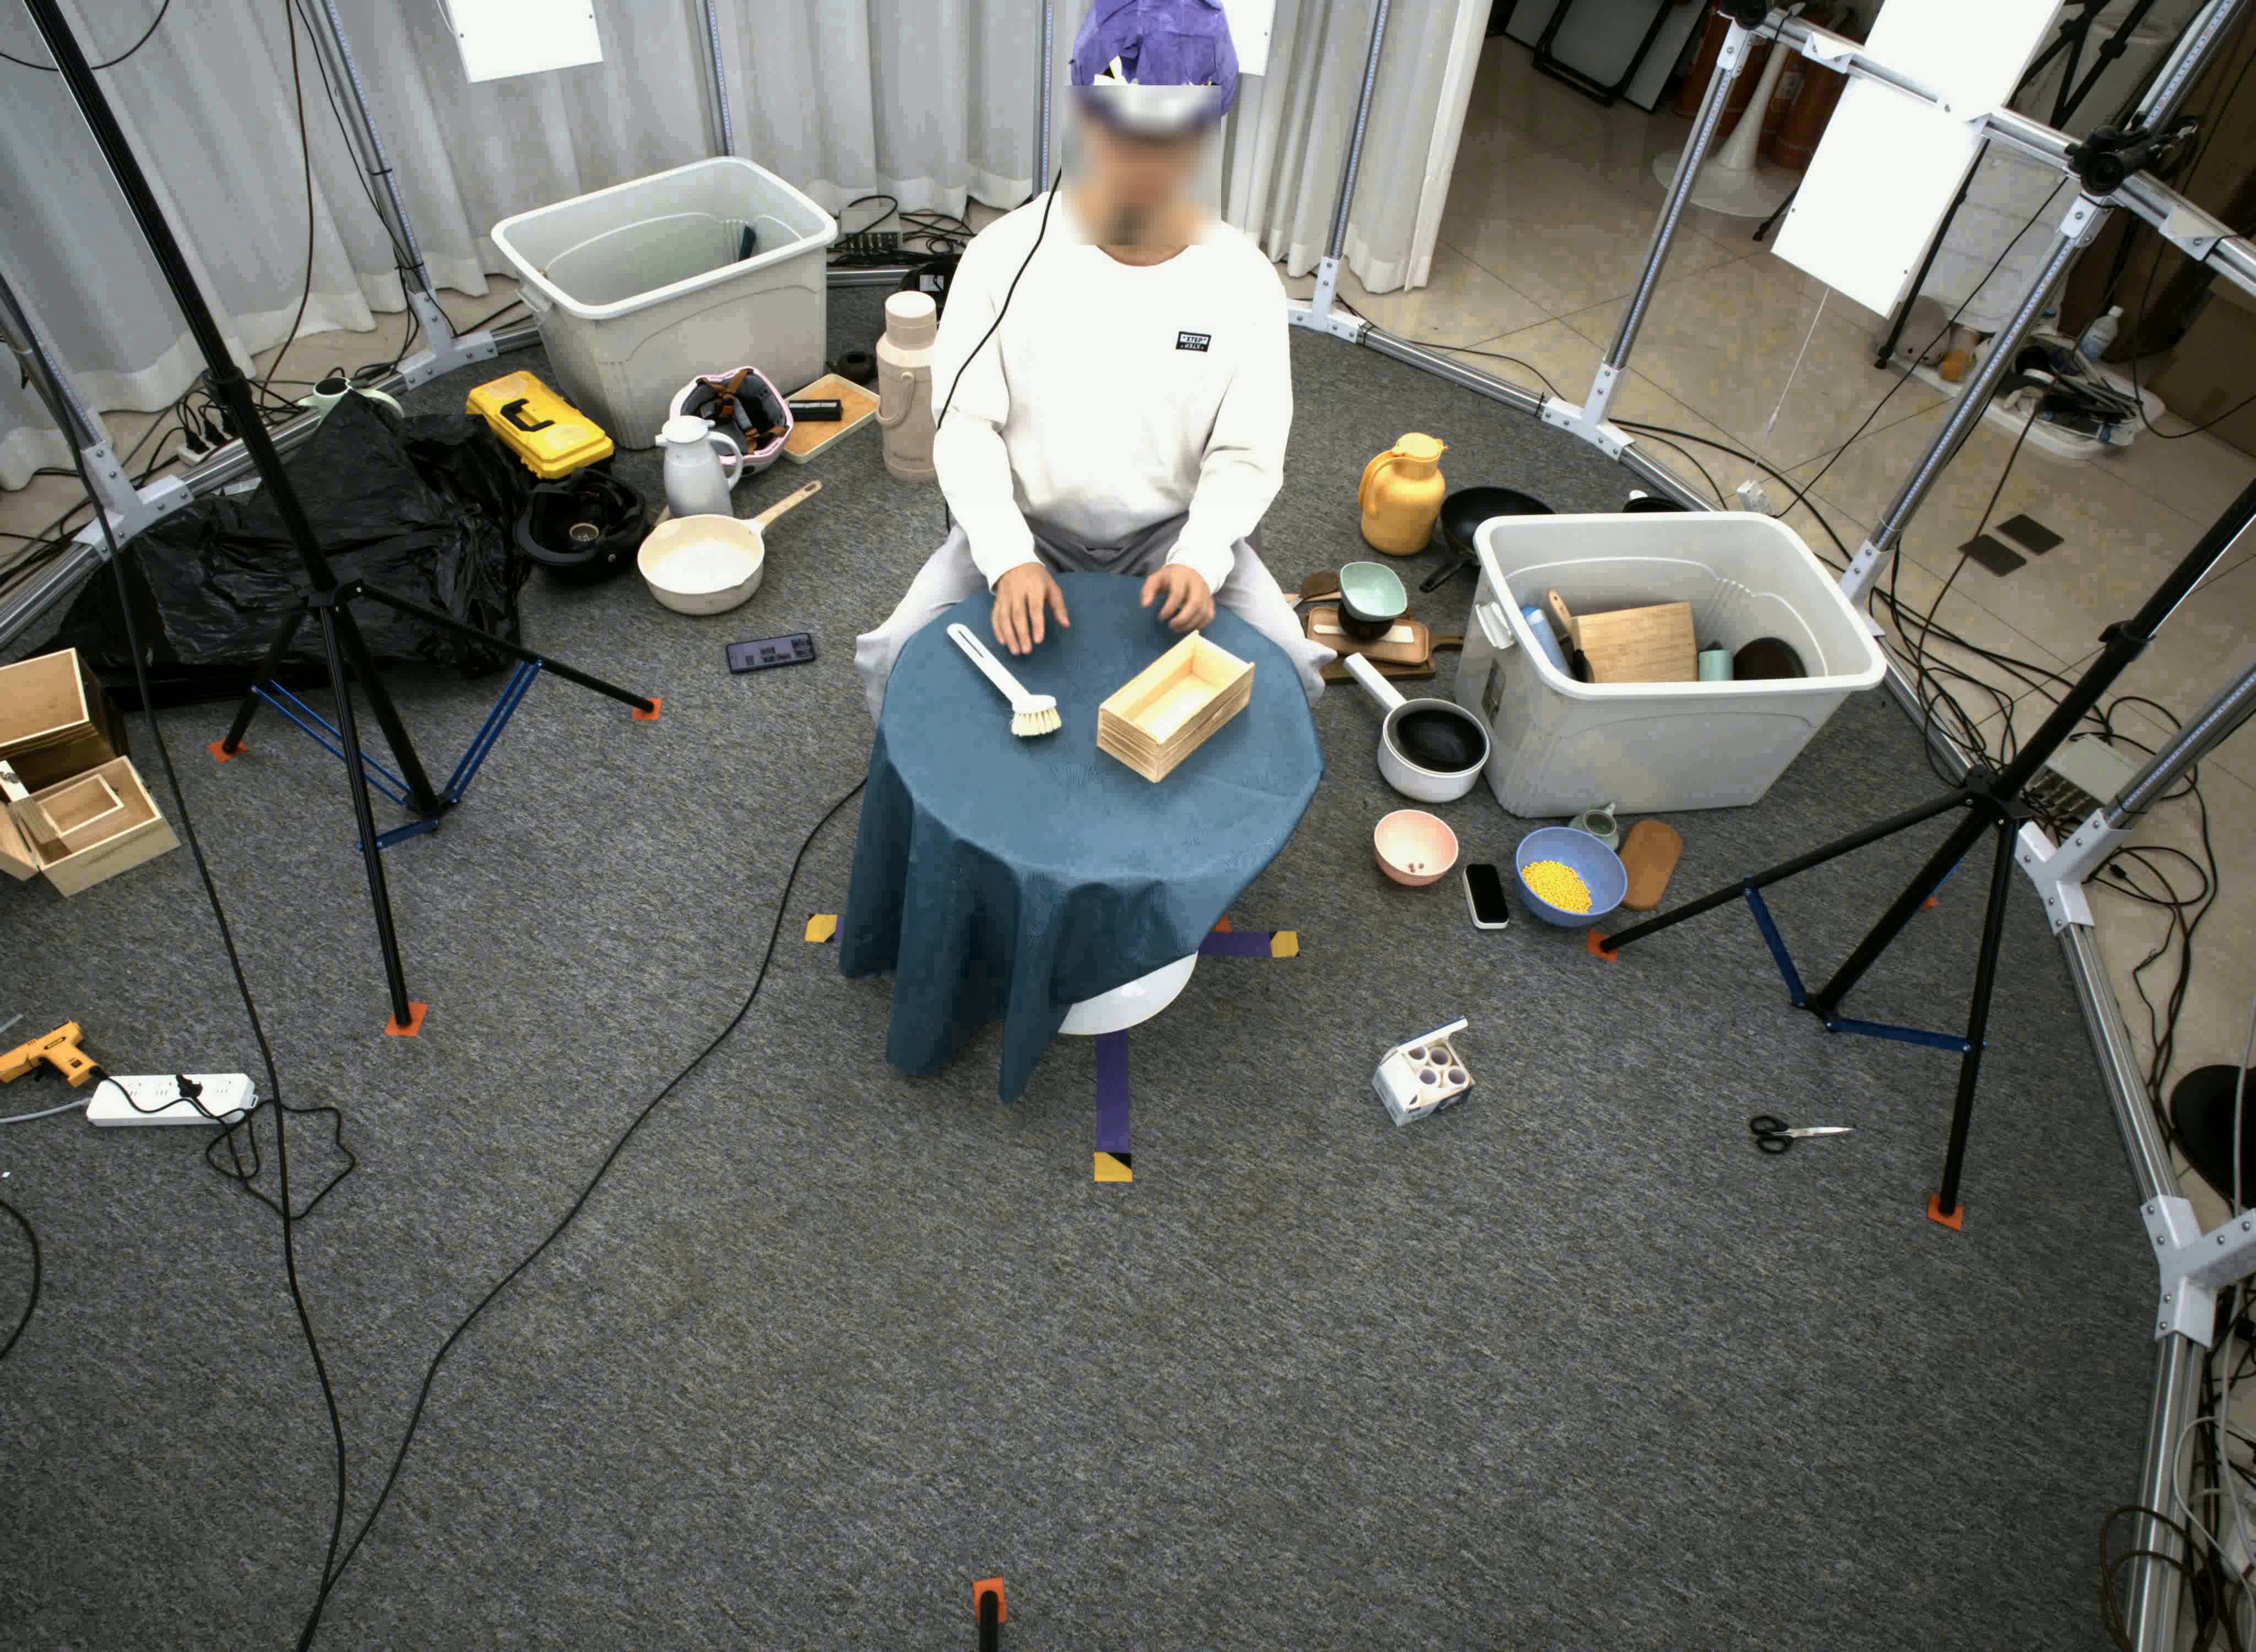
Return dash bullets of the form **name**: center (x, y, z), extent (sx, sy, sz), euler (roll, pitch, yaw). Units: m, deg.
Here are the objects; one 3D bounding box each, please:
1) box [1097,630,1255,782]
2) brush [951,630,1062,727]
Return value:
- **box**: center (0.067, -0.168, 1.763), extent (0.109, 0.078, 0.214), euler (33, 54, 23)
- **brush**: center (-0.179, -0.205, 1.821), extent (0.068, 0.055, 0.271), euler (-6, 31, -38)
